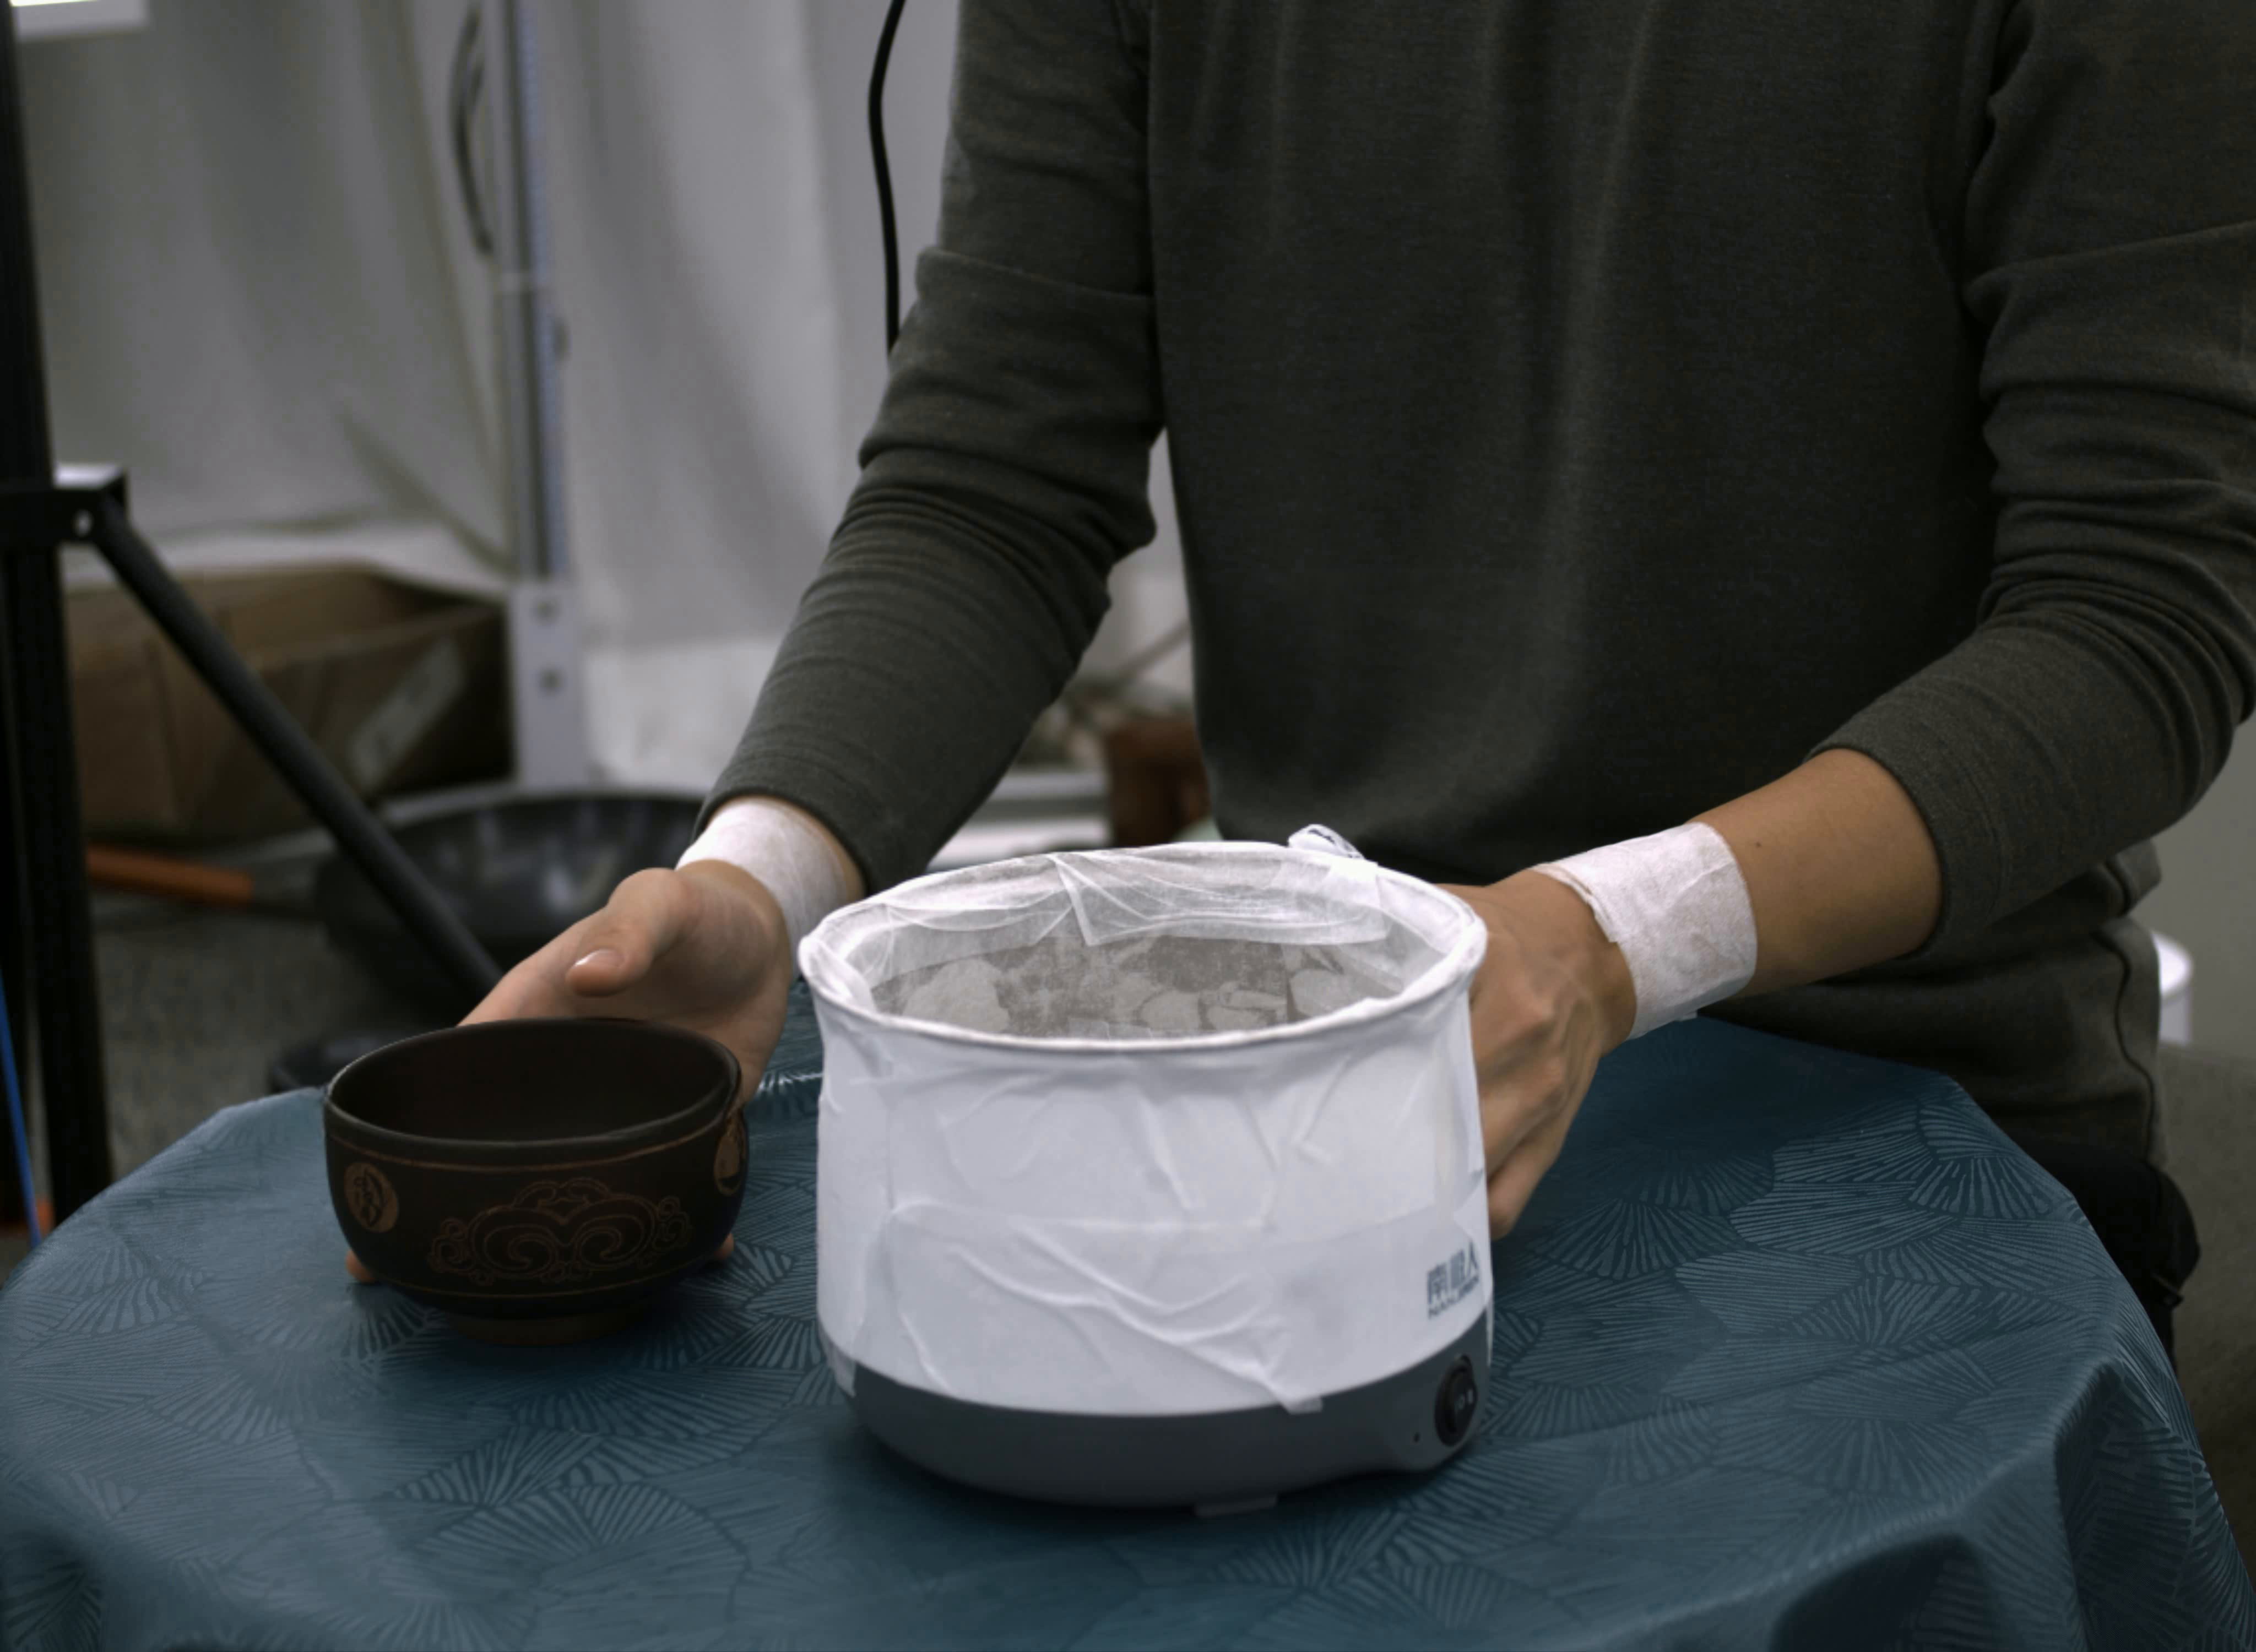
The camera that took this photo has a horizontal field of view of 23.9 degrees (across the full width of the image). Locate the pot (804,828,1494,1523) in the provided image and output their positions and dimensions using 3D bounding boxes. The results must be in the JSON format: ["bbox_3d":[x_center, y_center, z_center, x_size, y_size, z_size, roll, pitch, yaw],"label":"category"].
[{"bbox_3d":[0.020,0.084,1.396,0.182,0.136,0.229,6,17,28],"label":"pot"}]

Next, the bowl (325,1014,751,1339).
[{"bbox_3d":[-0.162,0.101,1.480,0.117,0.070,0.118,-2,13,-1],"label":"bowl"}]
